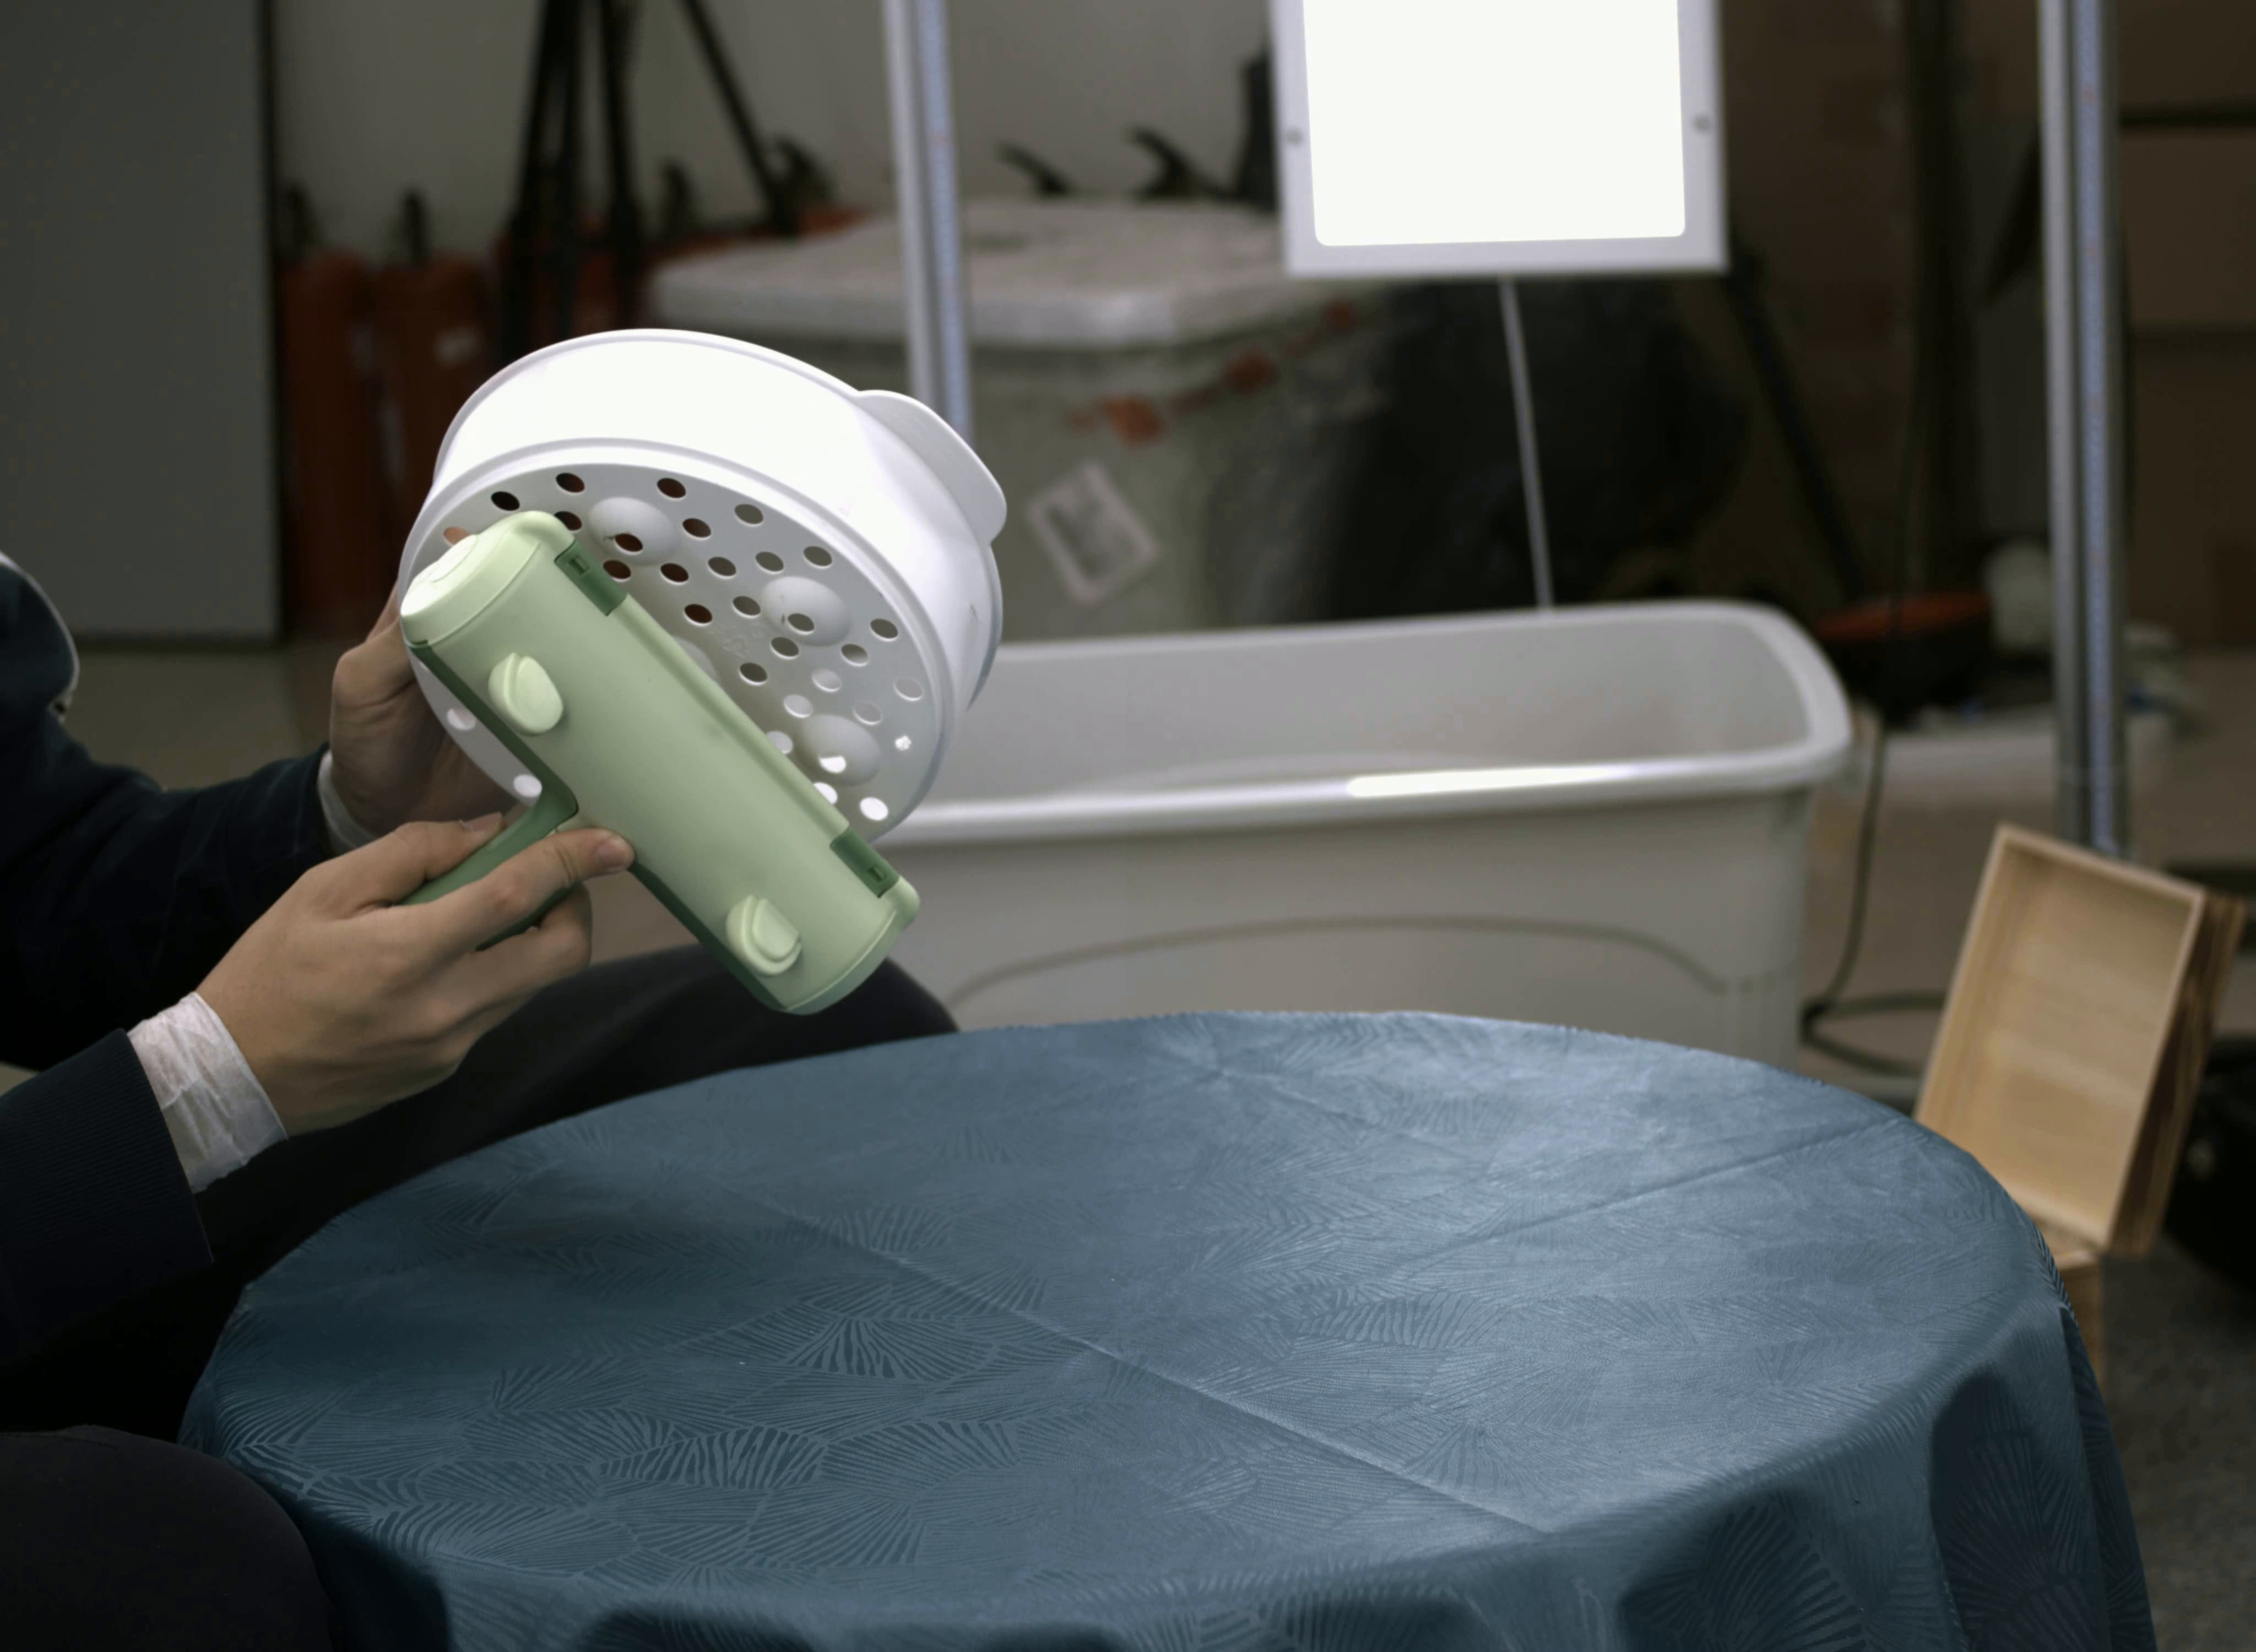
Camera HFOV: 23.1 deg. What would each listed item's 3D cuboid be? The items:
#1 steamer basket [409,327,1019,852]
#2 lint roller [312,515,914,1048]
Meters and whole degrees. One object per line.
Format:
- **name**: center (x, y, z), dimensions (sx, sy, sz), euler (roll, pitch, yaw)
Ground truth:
- **steamer basket**: center (-0.142, -0.071, 1.845), dimensions (0.235, 0.200, 0.068), euler (-21, 34, 37)
- **lint roller**: center (-0.197, 0.021, 1.817), dimensions (0.184, 0.197, 0.082), euler (-41, 22, 7)
